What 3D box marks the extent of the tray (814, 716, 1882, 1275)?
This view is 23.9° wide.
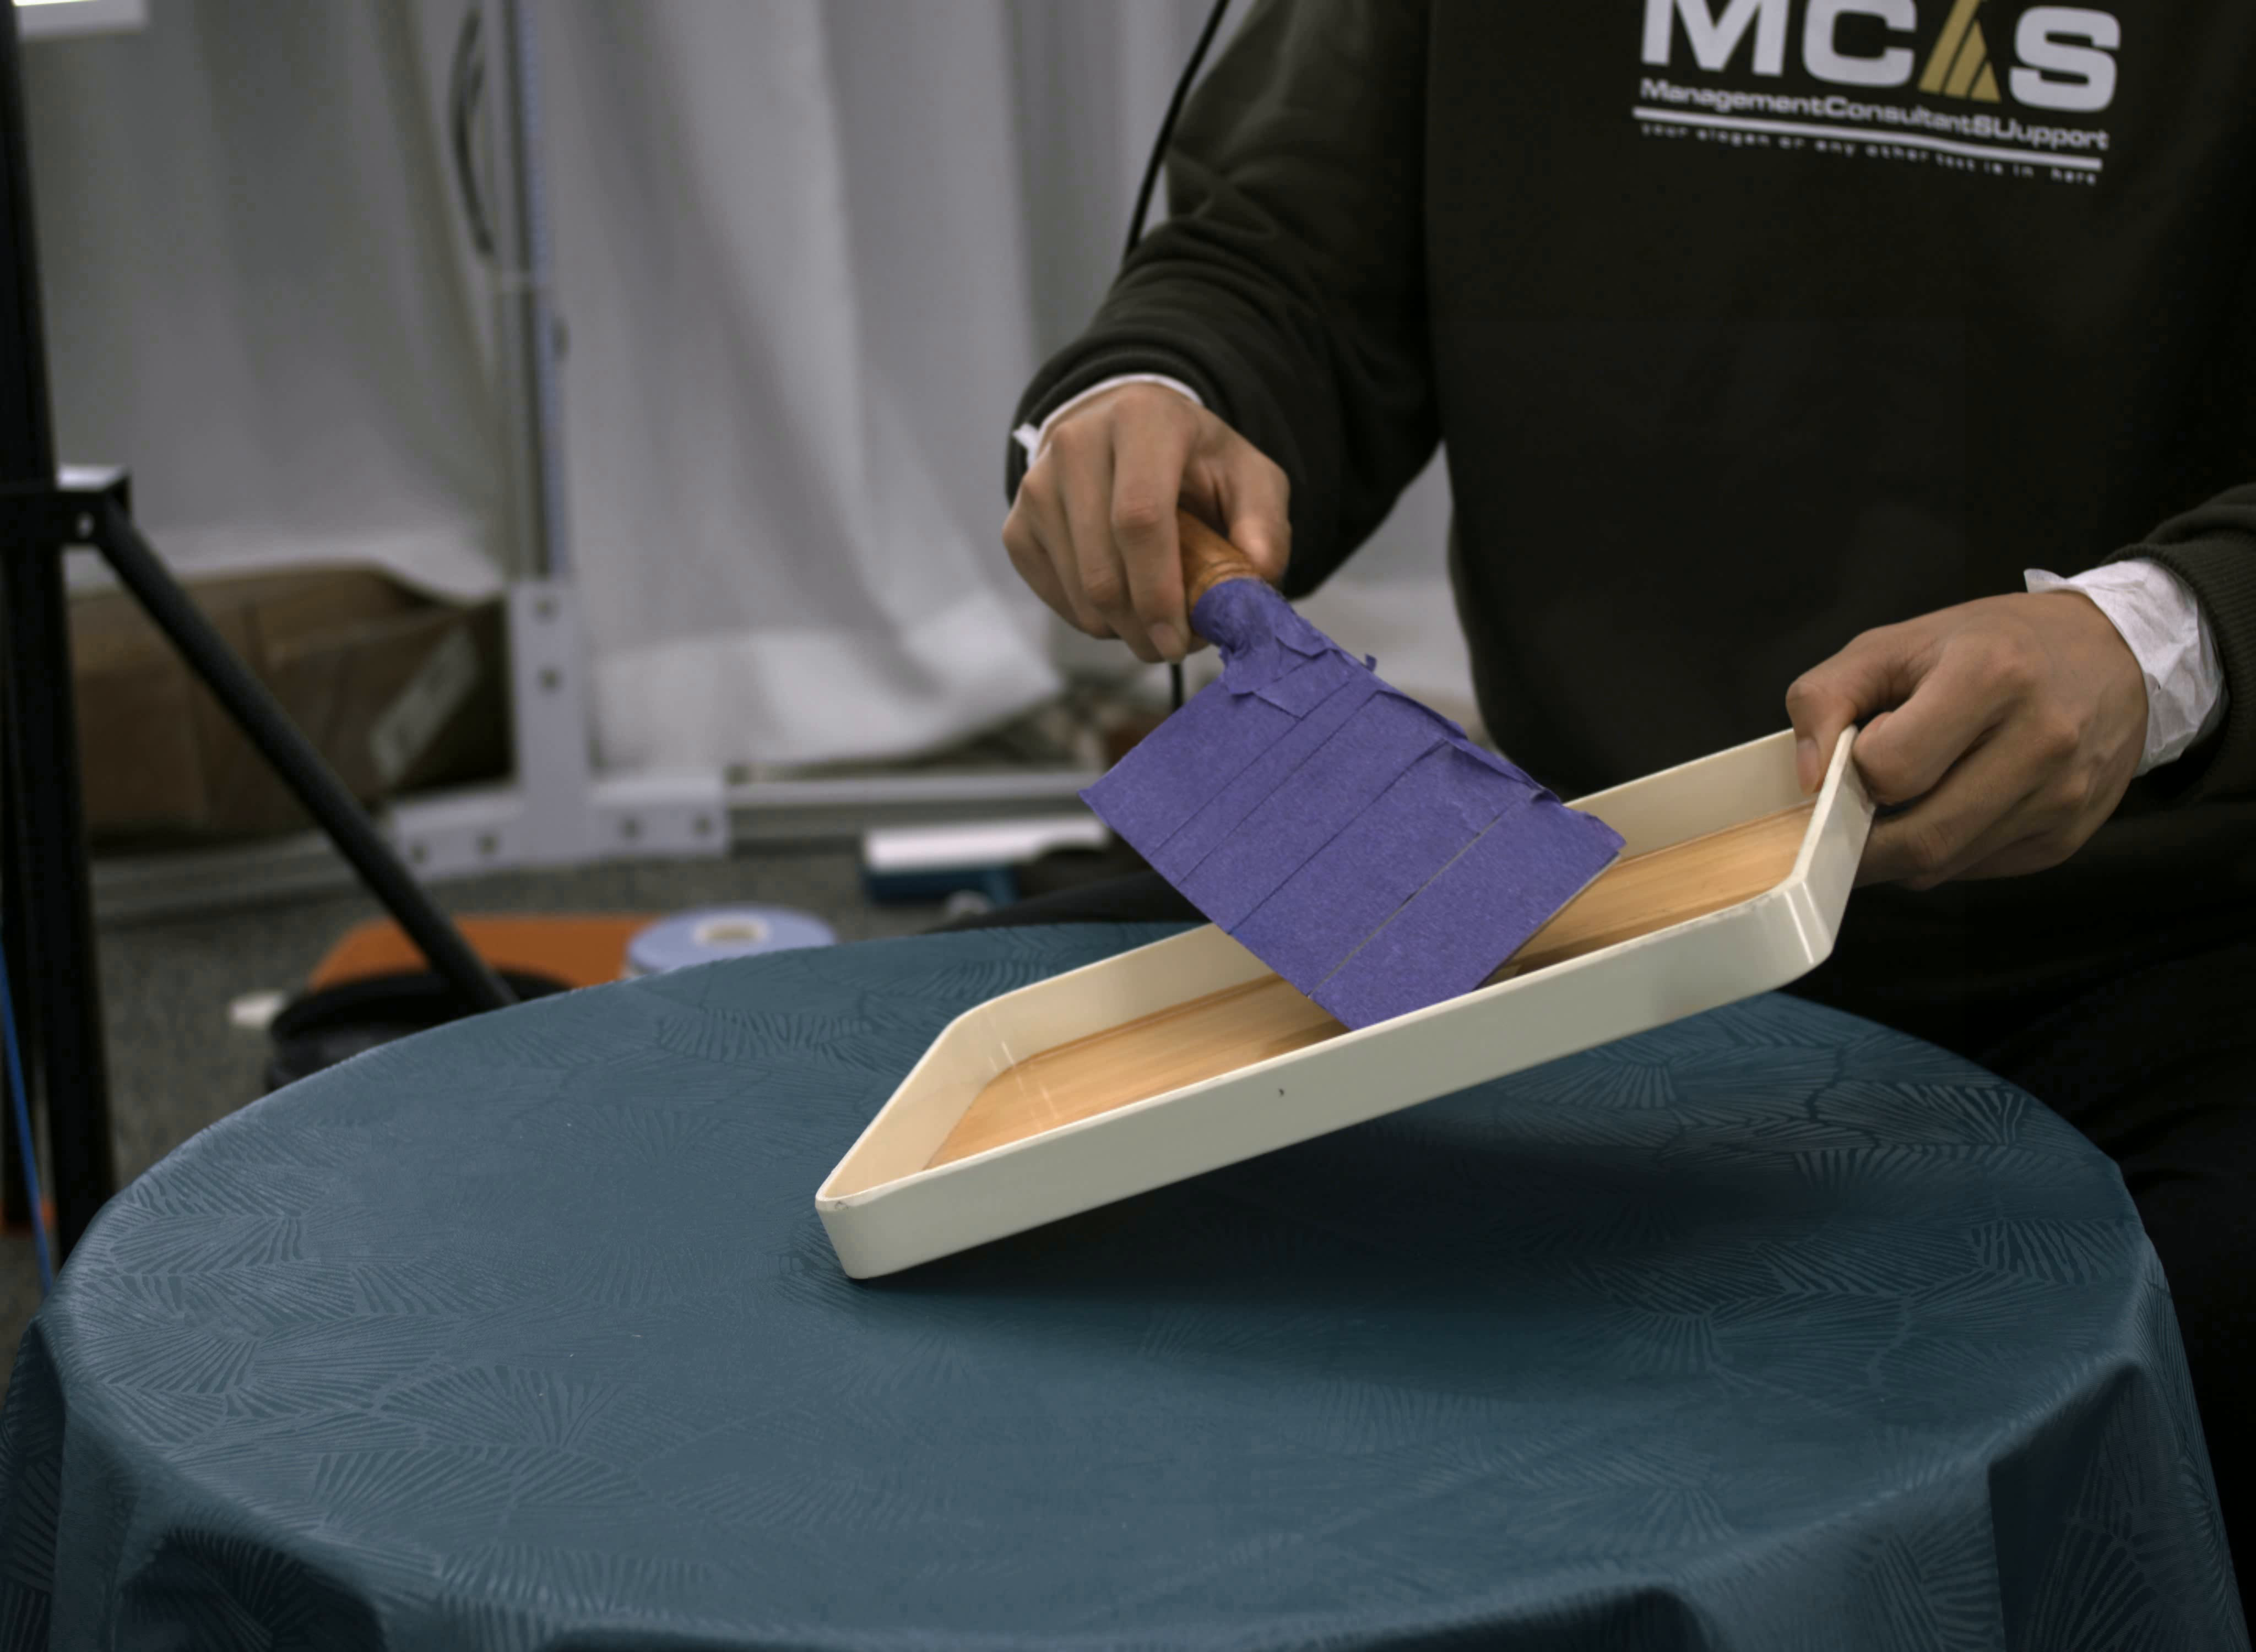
[{"bbox_3d":[0.067,0.048,1.531,0.303,0.027,0.190,-19,11,19],"label":"tray"}]

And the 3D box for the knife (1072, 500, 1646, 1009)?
[{"bbox_3d":[0.039,-0.024,1.606,0.103,0.031,0.322,-41,31,-7],"label":"knife"}]
